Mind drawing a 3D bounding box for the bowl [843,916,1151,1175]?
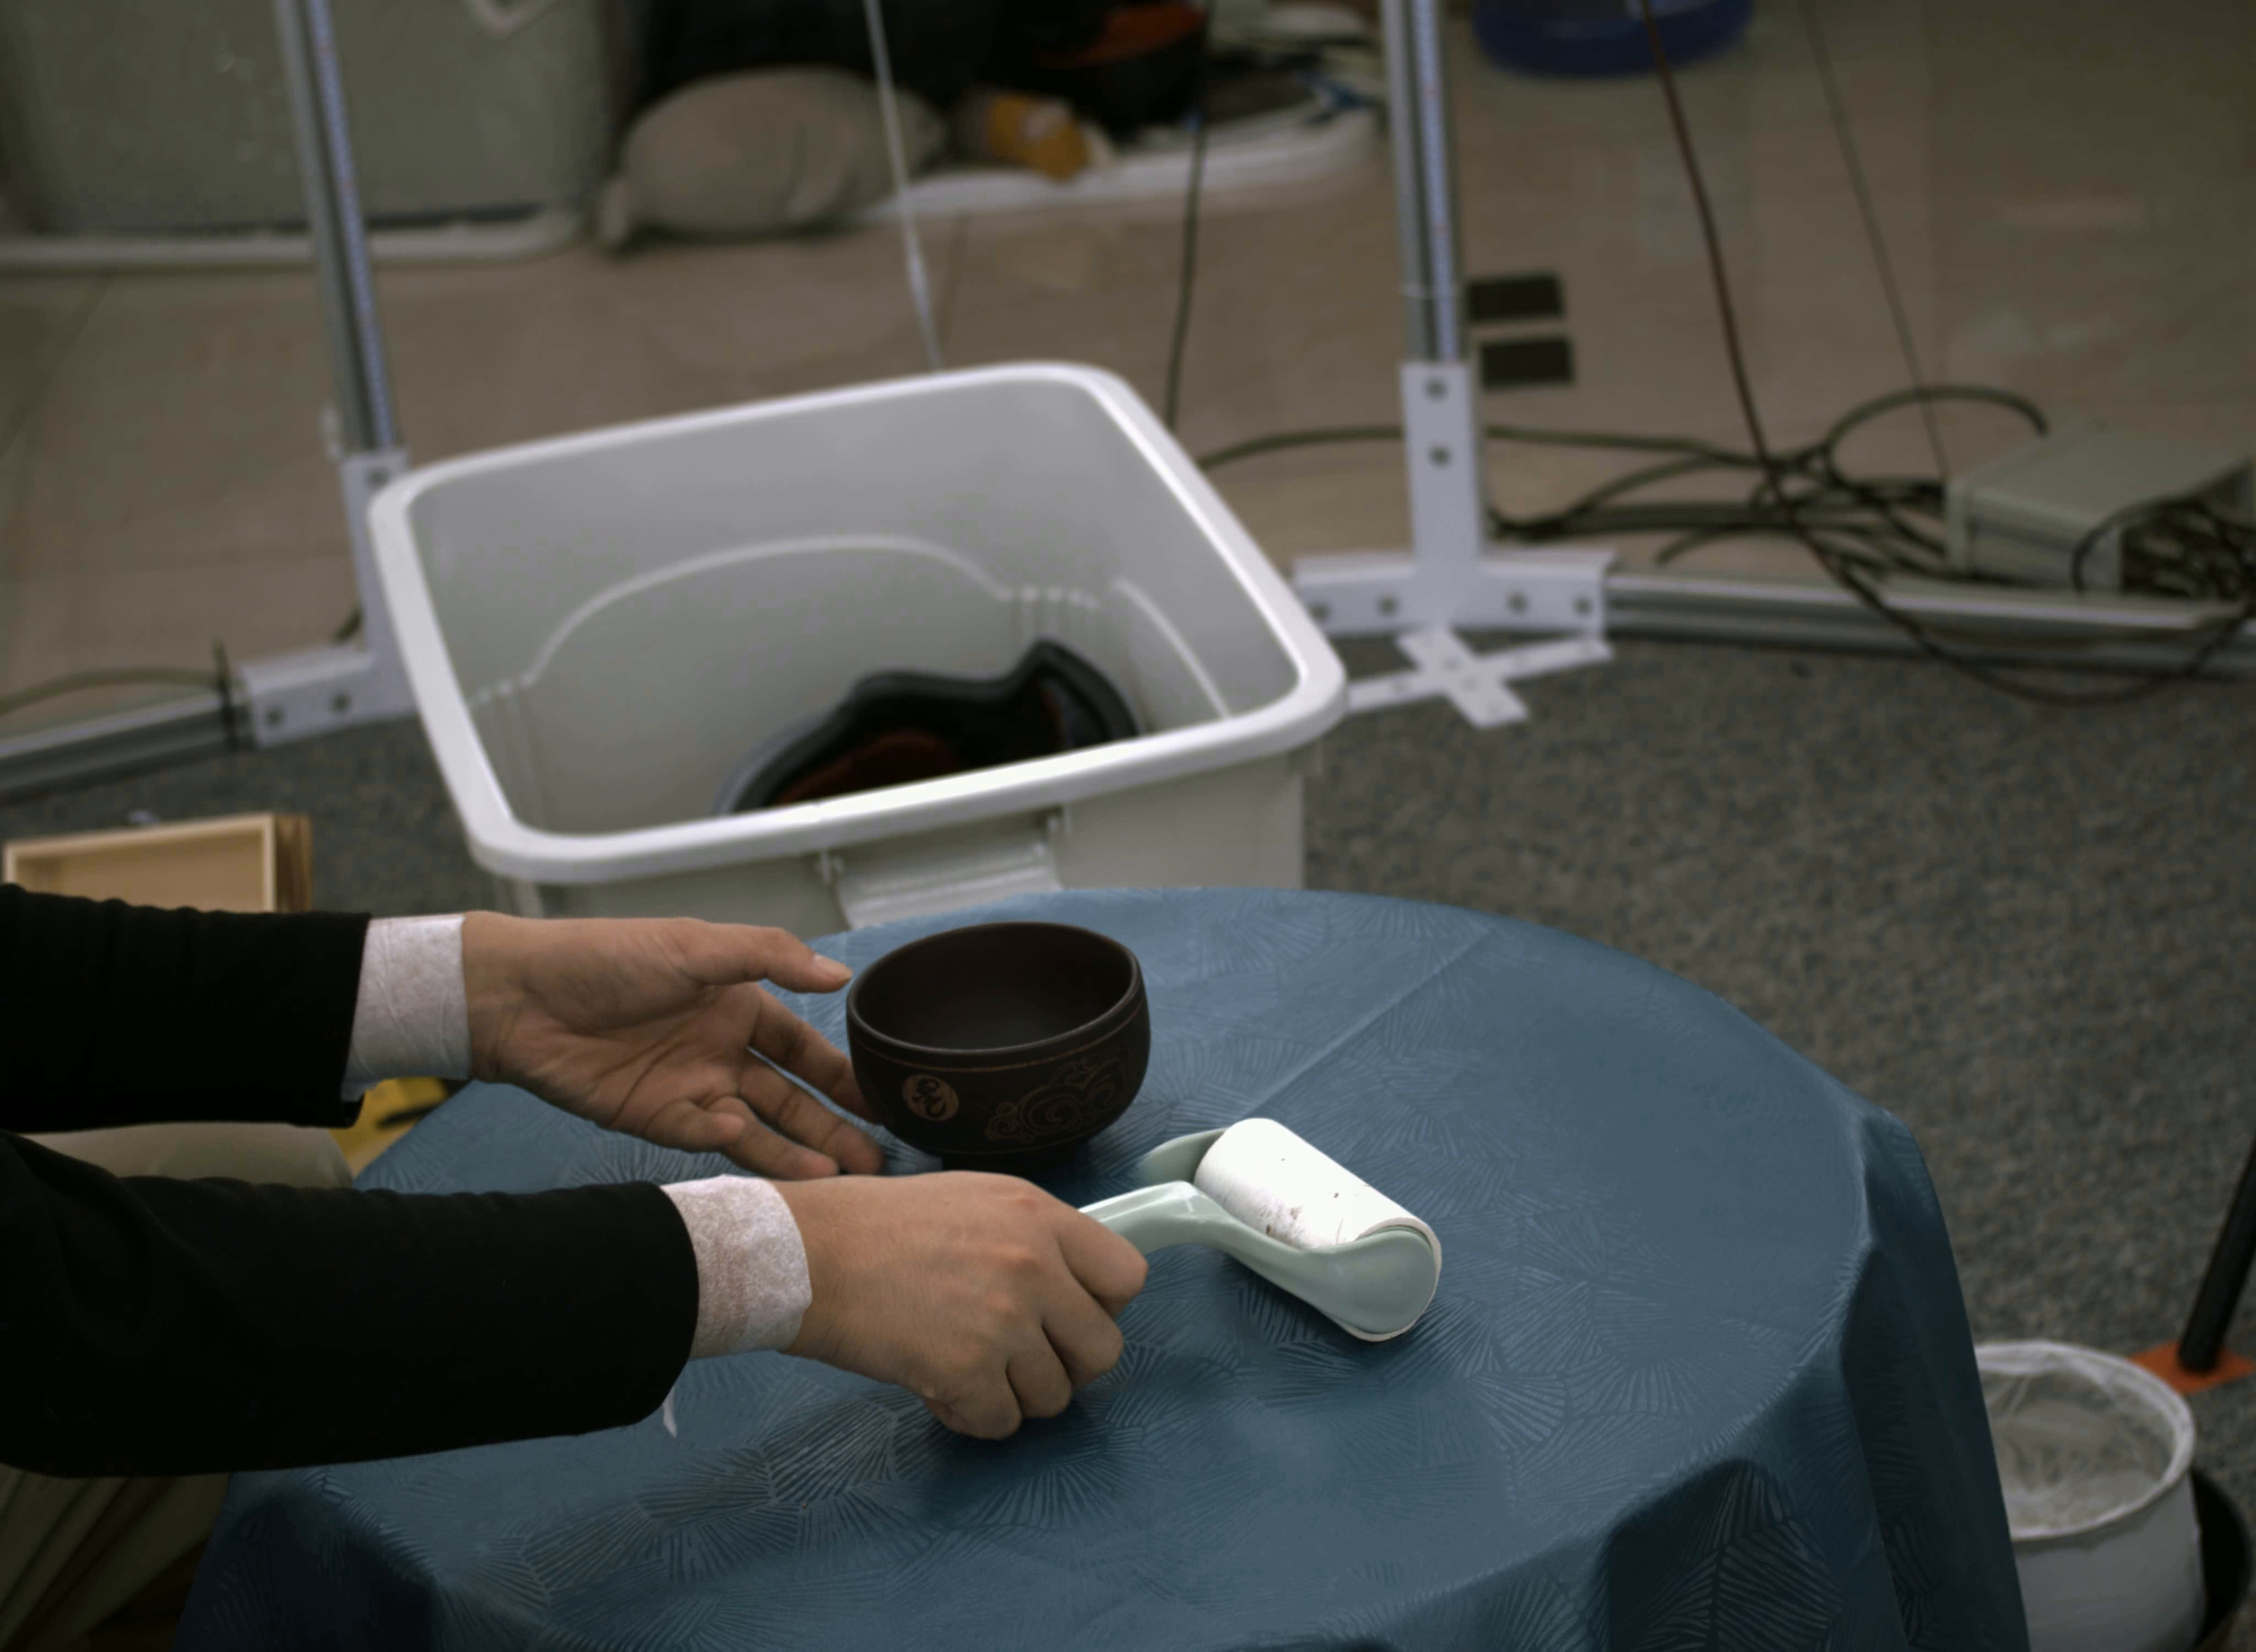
[{"bbox_3d":[-0.048,0.090,2.178,0.118,0.071,0.116,-6,27,3],"label":"bowl"}]

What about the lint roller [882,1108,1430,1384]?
[{"bbox_3d":[-0.001,0.154,2.031,0.197,0.049,0.115,-11,25,-27],"label":"lint roller"}]
